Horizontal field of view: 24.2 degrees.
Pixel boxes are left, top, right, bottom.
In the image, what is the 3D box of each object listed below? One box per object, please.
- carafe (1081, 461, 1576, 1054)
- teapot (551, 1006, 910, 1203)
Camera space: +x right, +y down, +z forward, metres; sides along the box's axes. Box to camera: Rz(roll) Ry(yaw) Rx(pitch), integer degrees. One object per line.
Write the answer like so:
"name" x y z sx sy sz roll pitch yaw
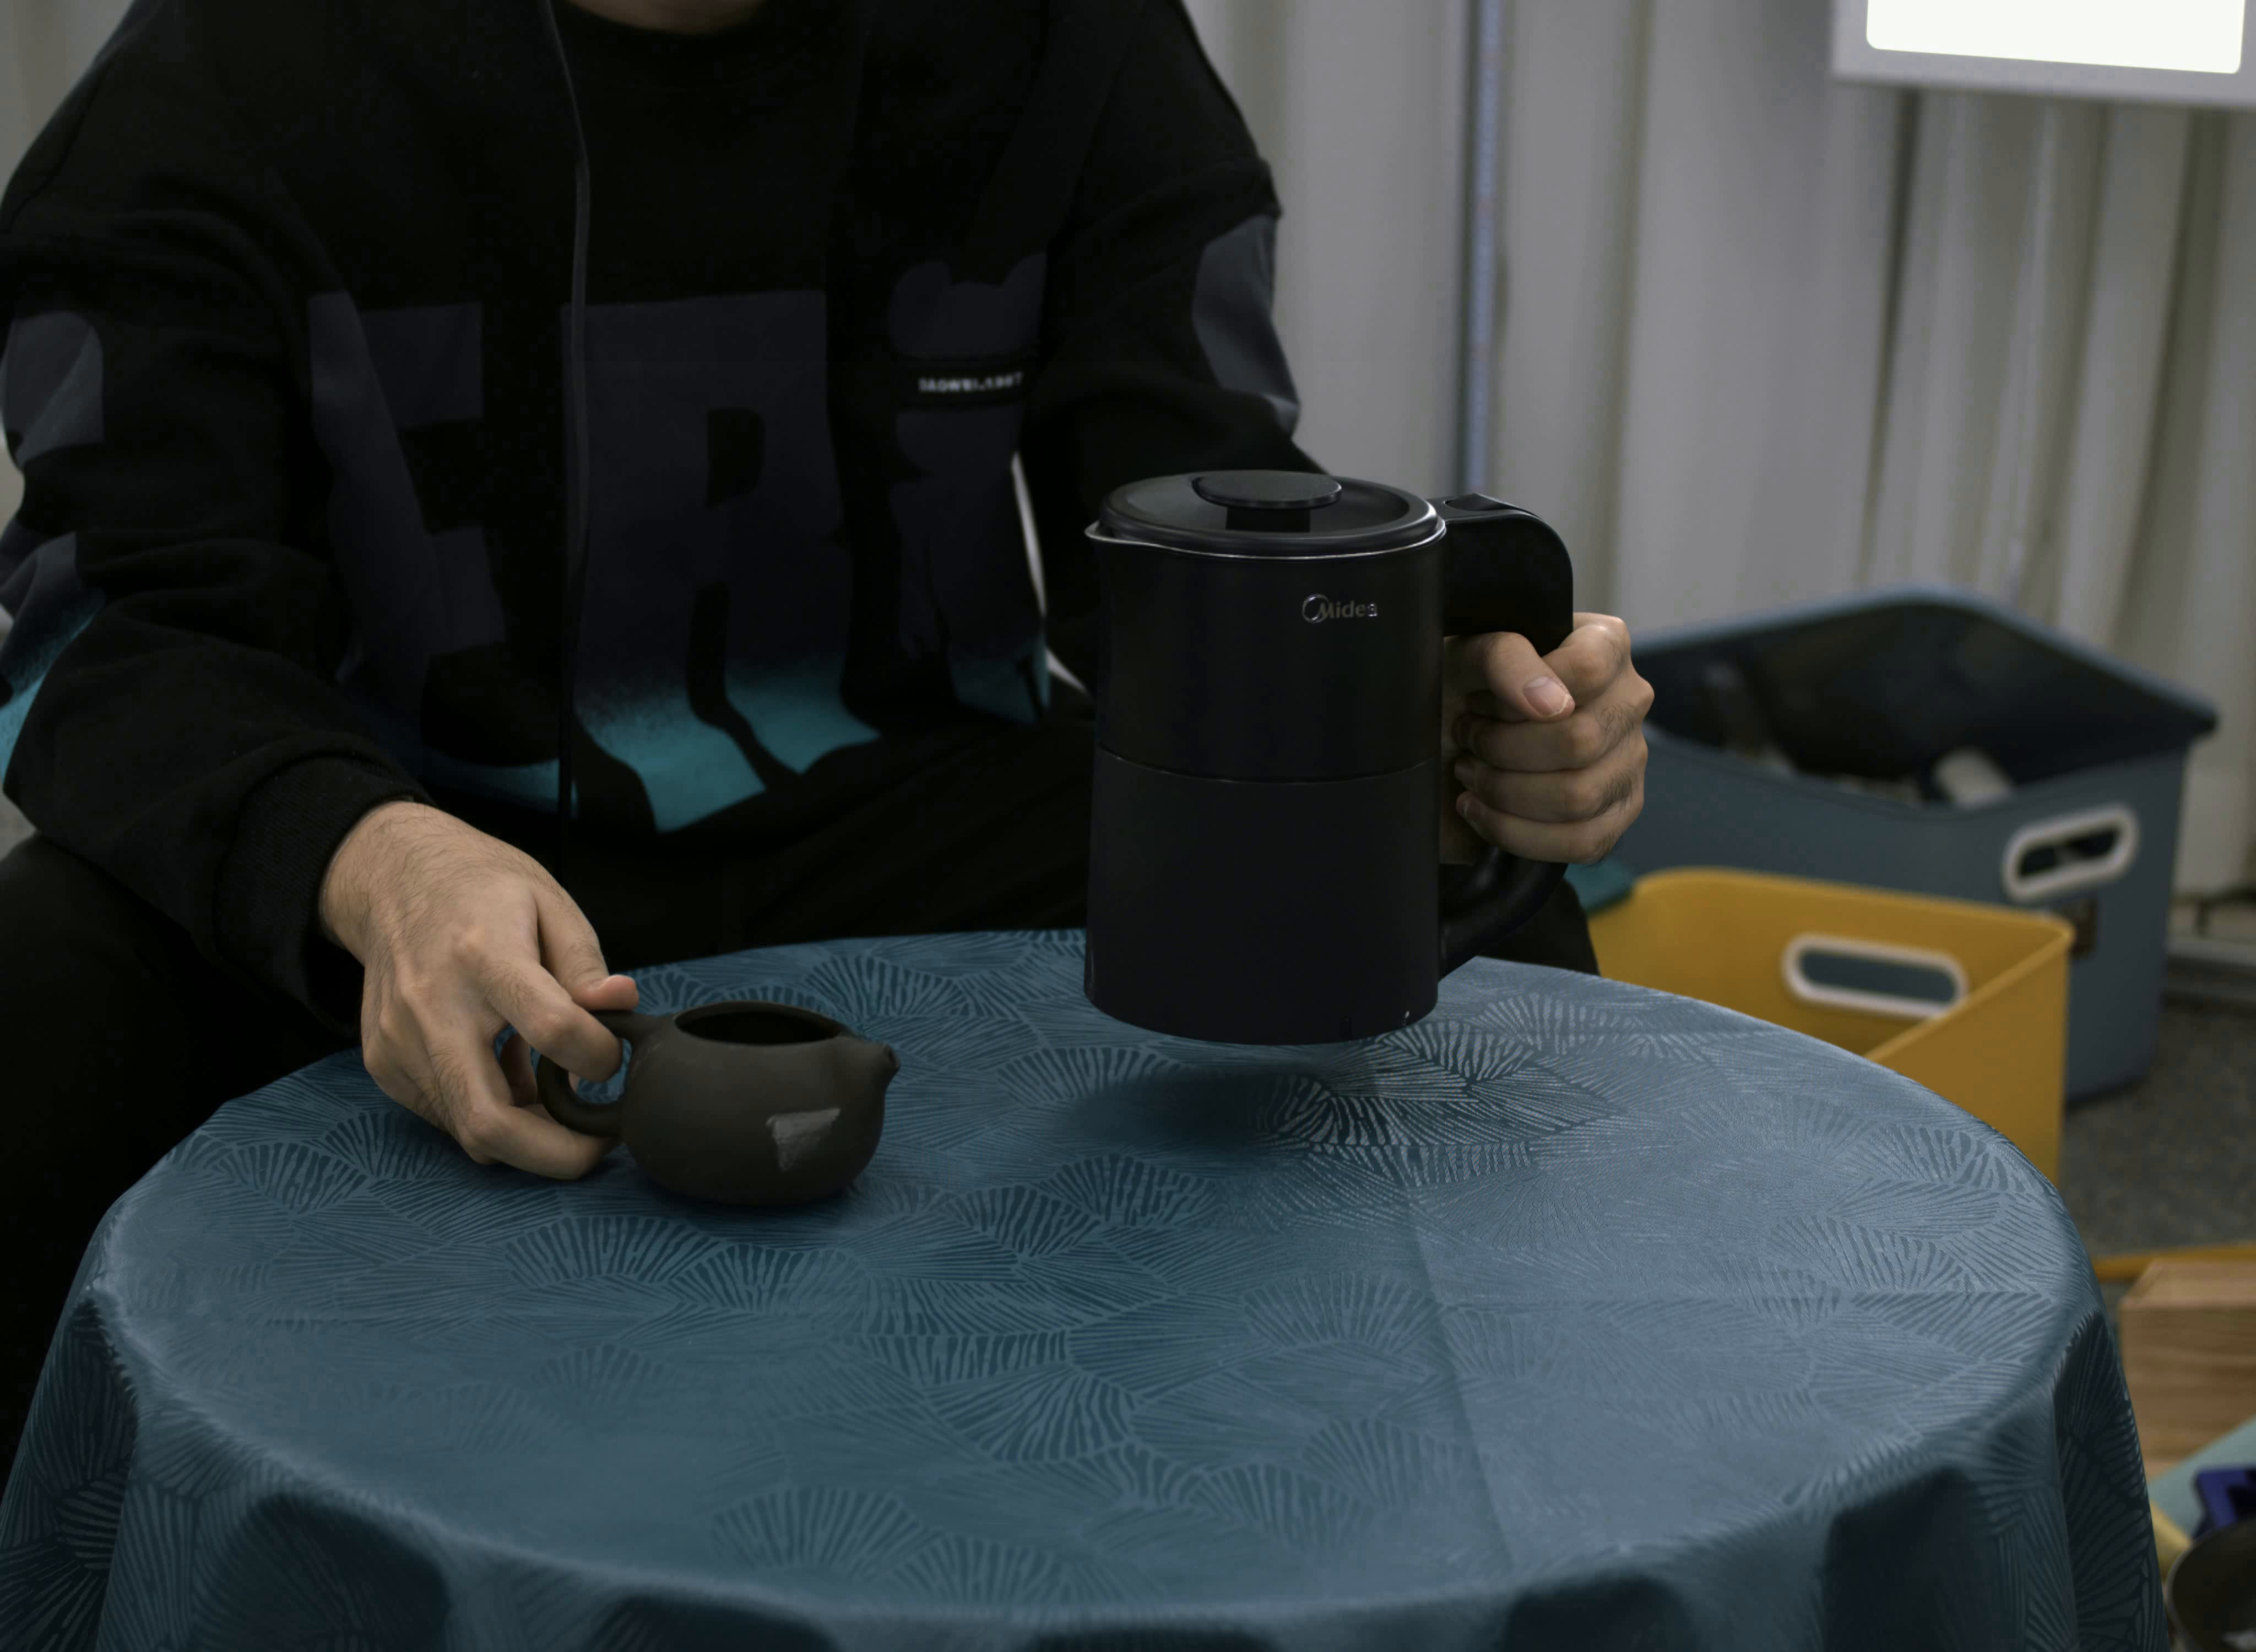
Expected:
"carafe" 0.064 -0.030 1.674 0.172 0.175 0.113 -9 17 -27
"teapot" -0.124 0.083 1.617 0.113 0.053 0.083 10 11 14
